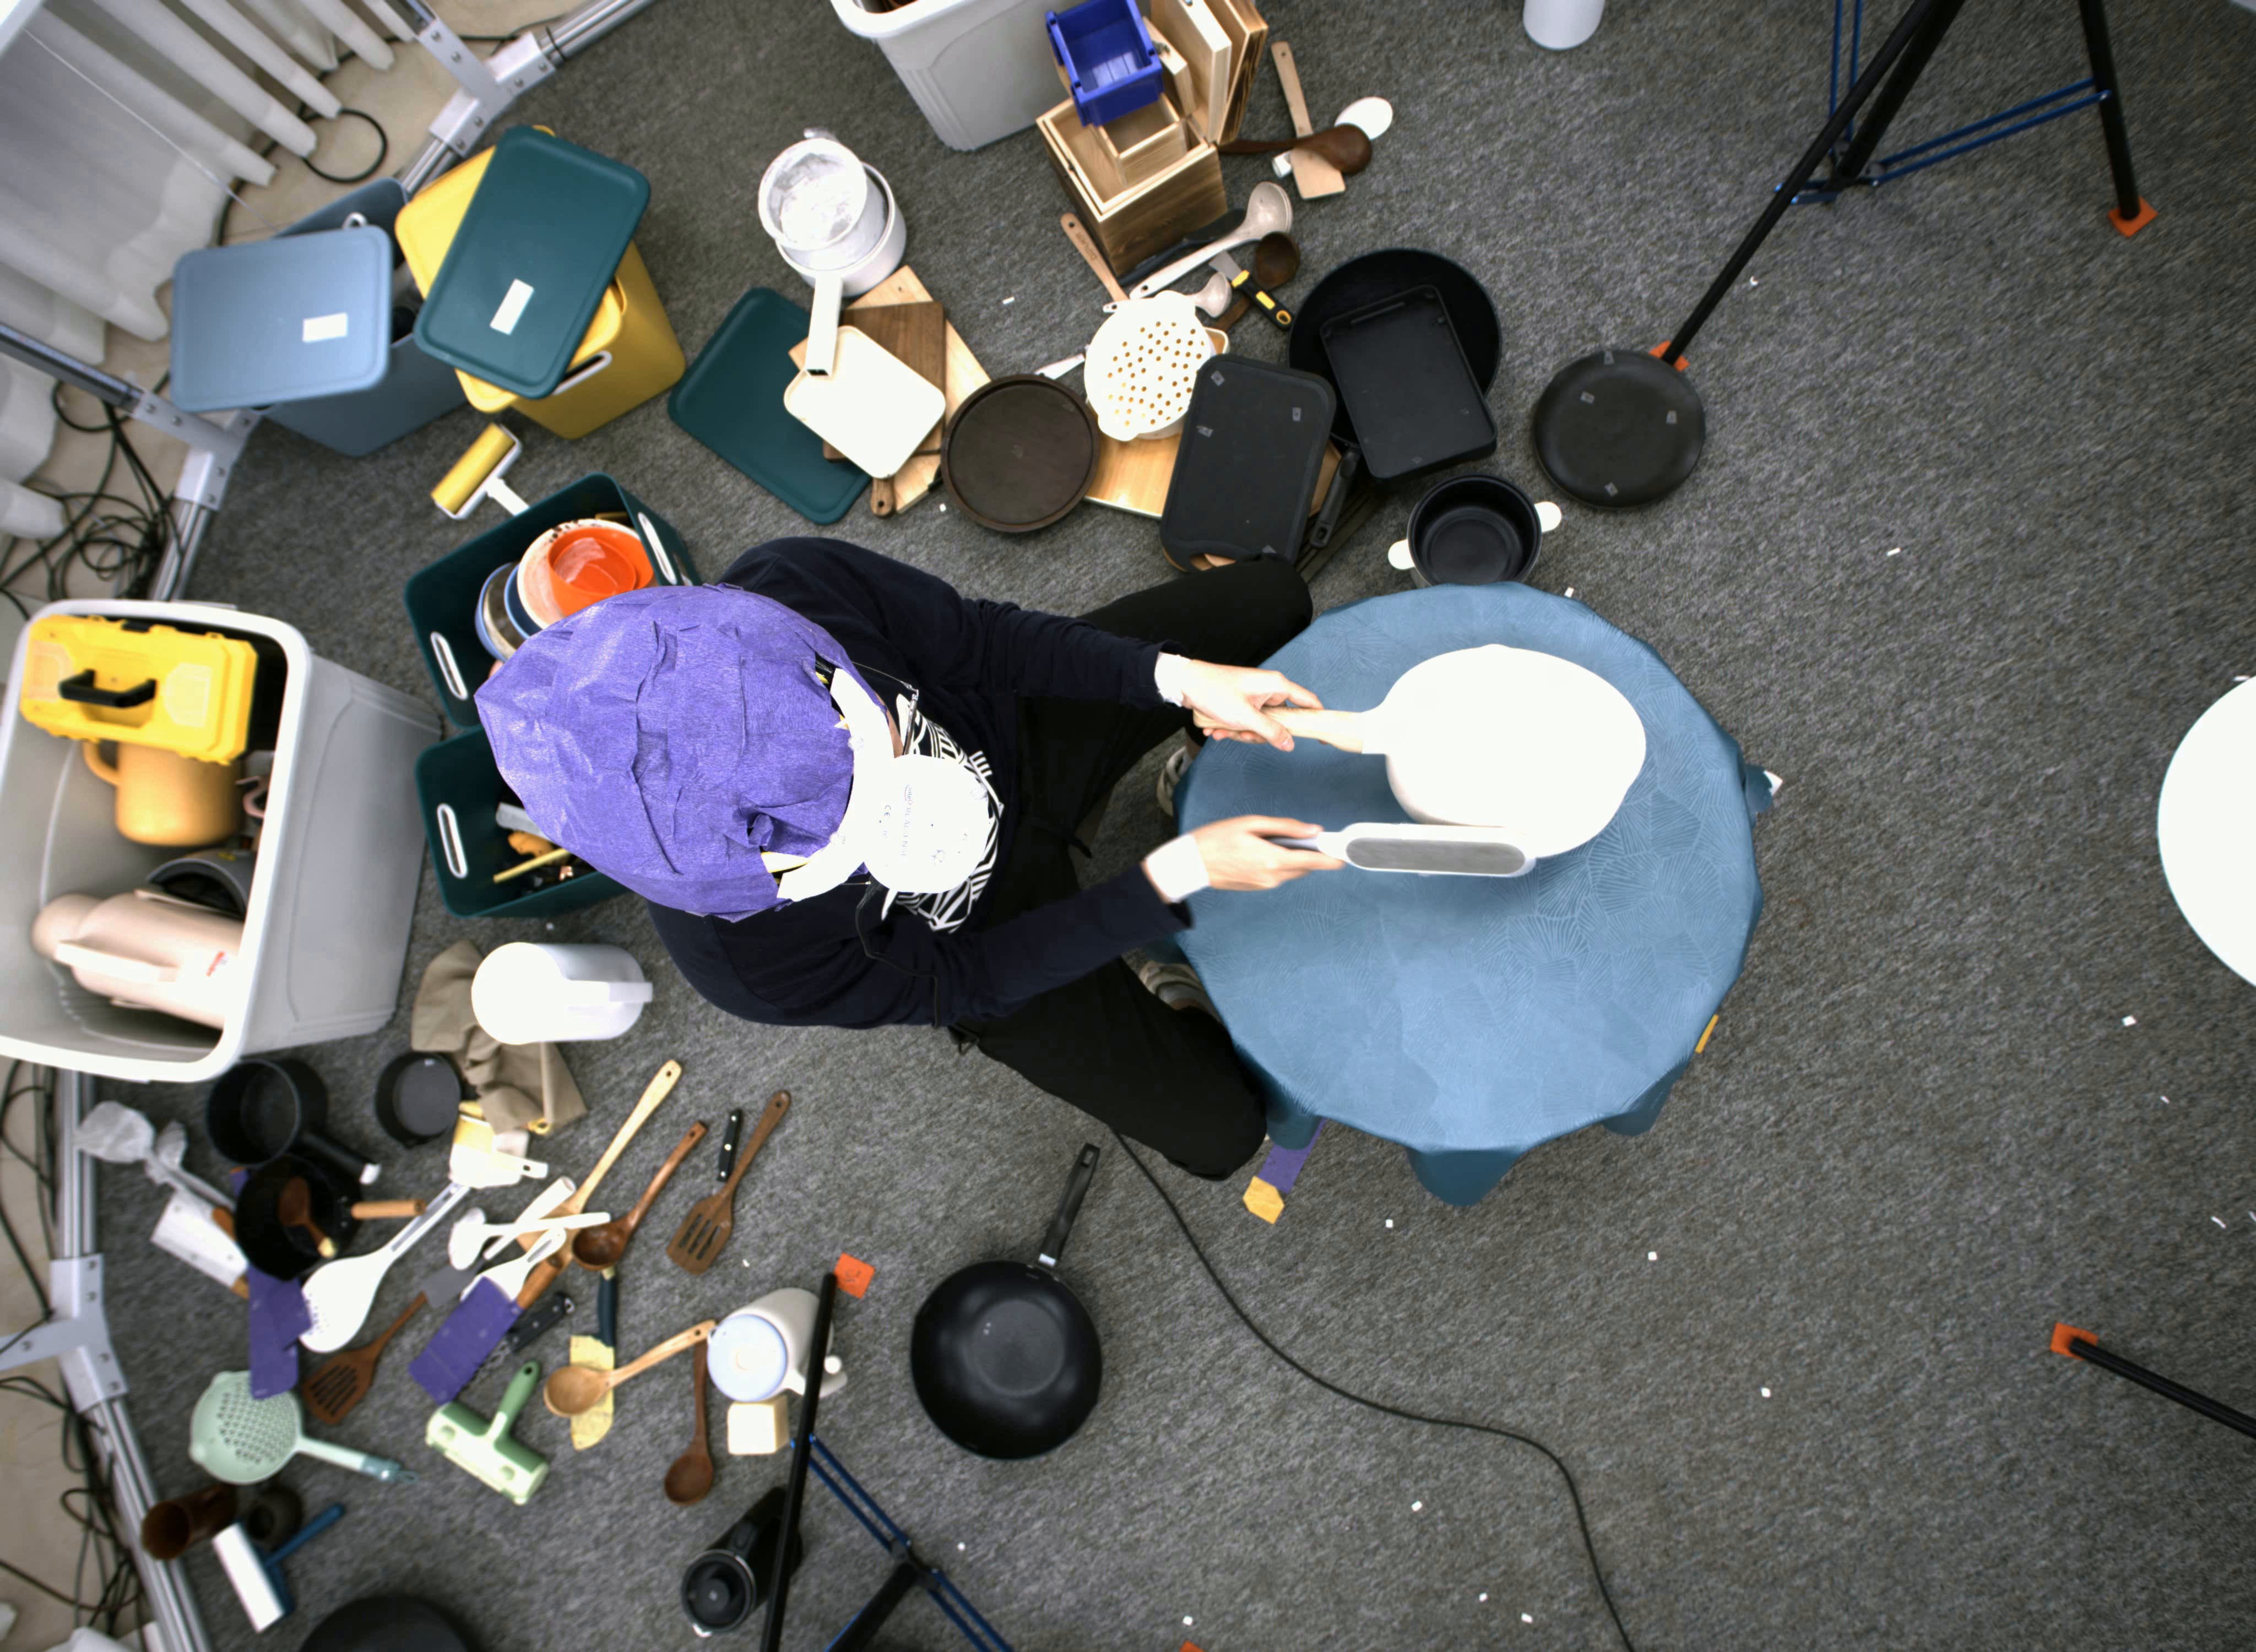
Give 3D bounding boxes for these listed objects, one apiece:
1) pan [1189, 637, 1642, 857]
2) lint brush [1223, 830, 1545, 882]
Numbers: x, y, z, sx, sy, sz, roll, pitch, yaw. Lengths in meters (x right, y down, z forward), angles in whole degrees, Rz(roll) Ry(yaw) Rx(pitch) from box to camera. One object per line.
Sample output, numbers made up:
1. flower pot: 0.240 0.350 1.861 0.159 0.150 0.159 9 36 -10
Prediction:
1. pan: 0.279 -0.079 1.359 0.436 0.104 0.256 1 51 4
2. lint brush: 0.239 0.024 1.316 0.310 0.061 0.020 2 56 22
